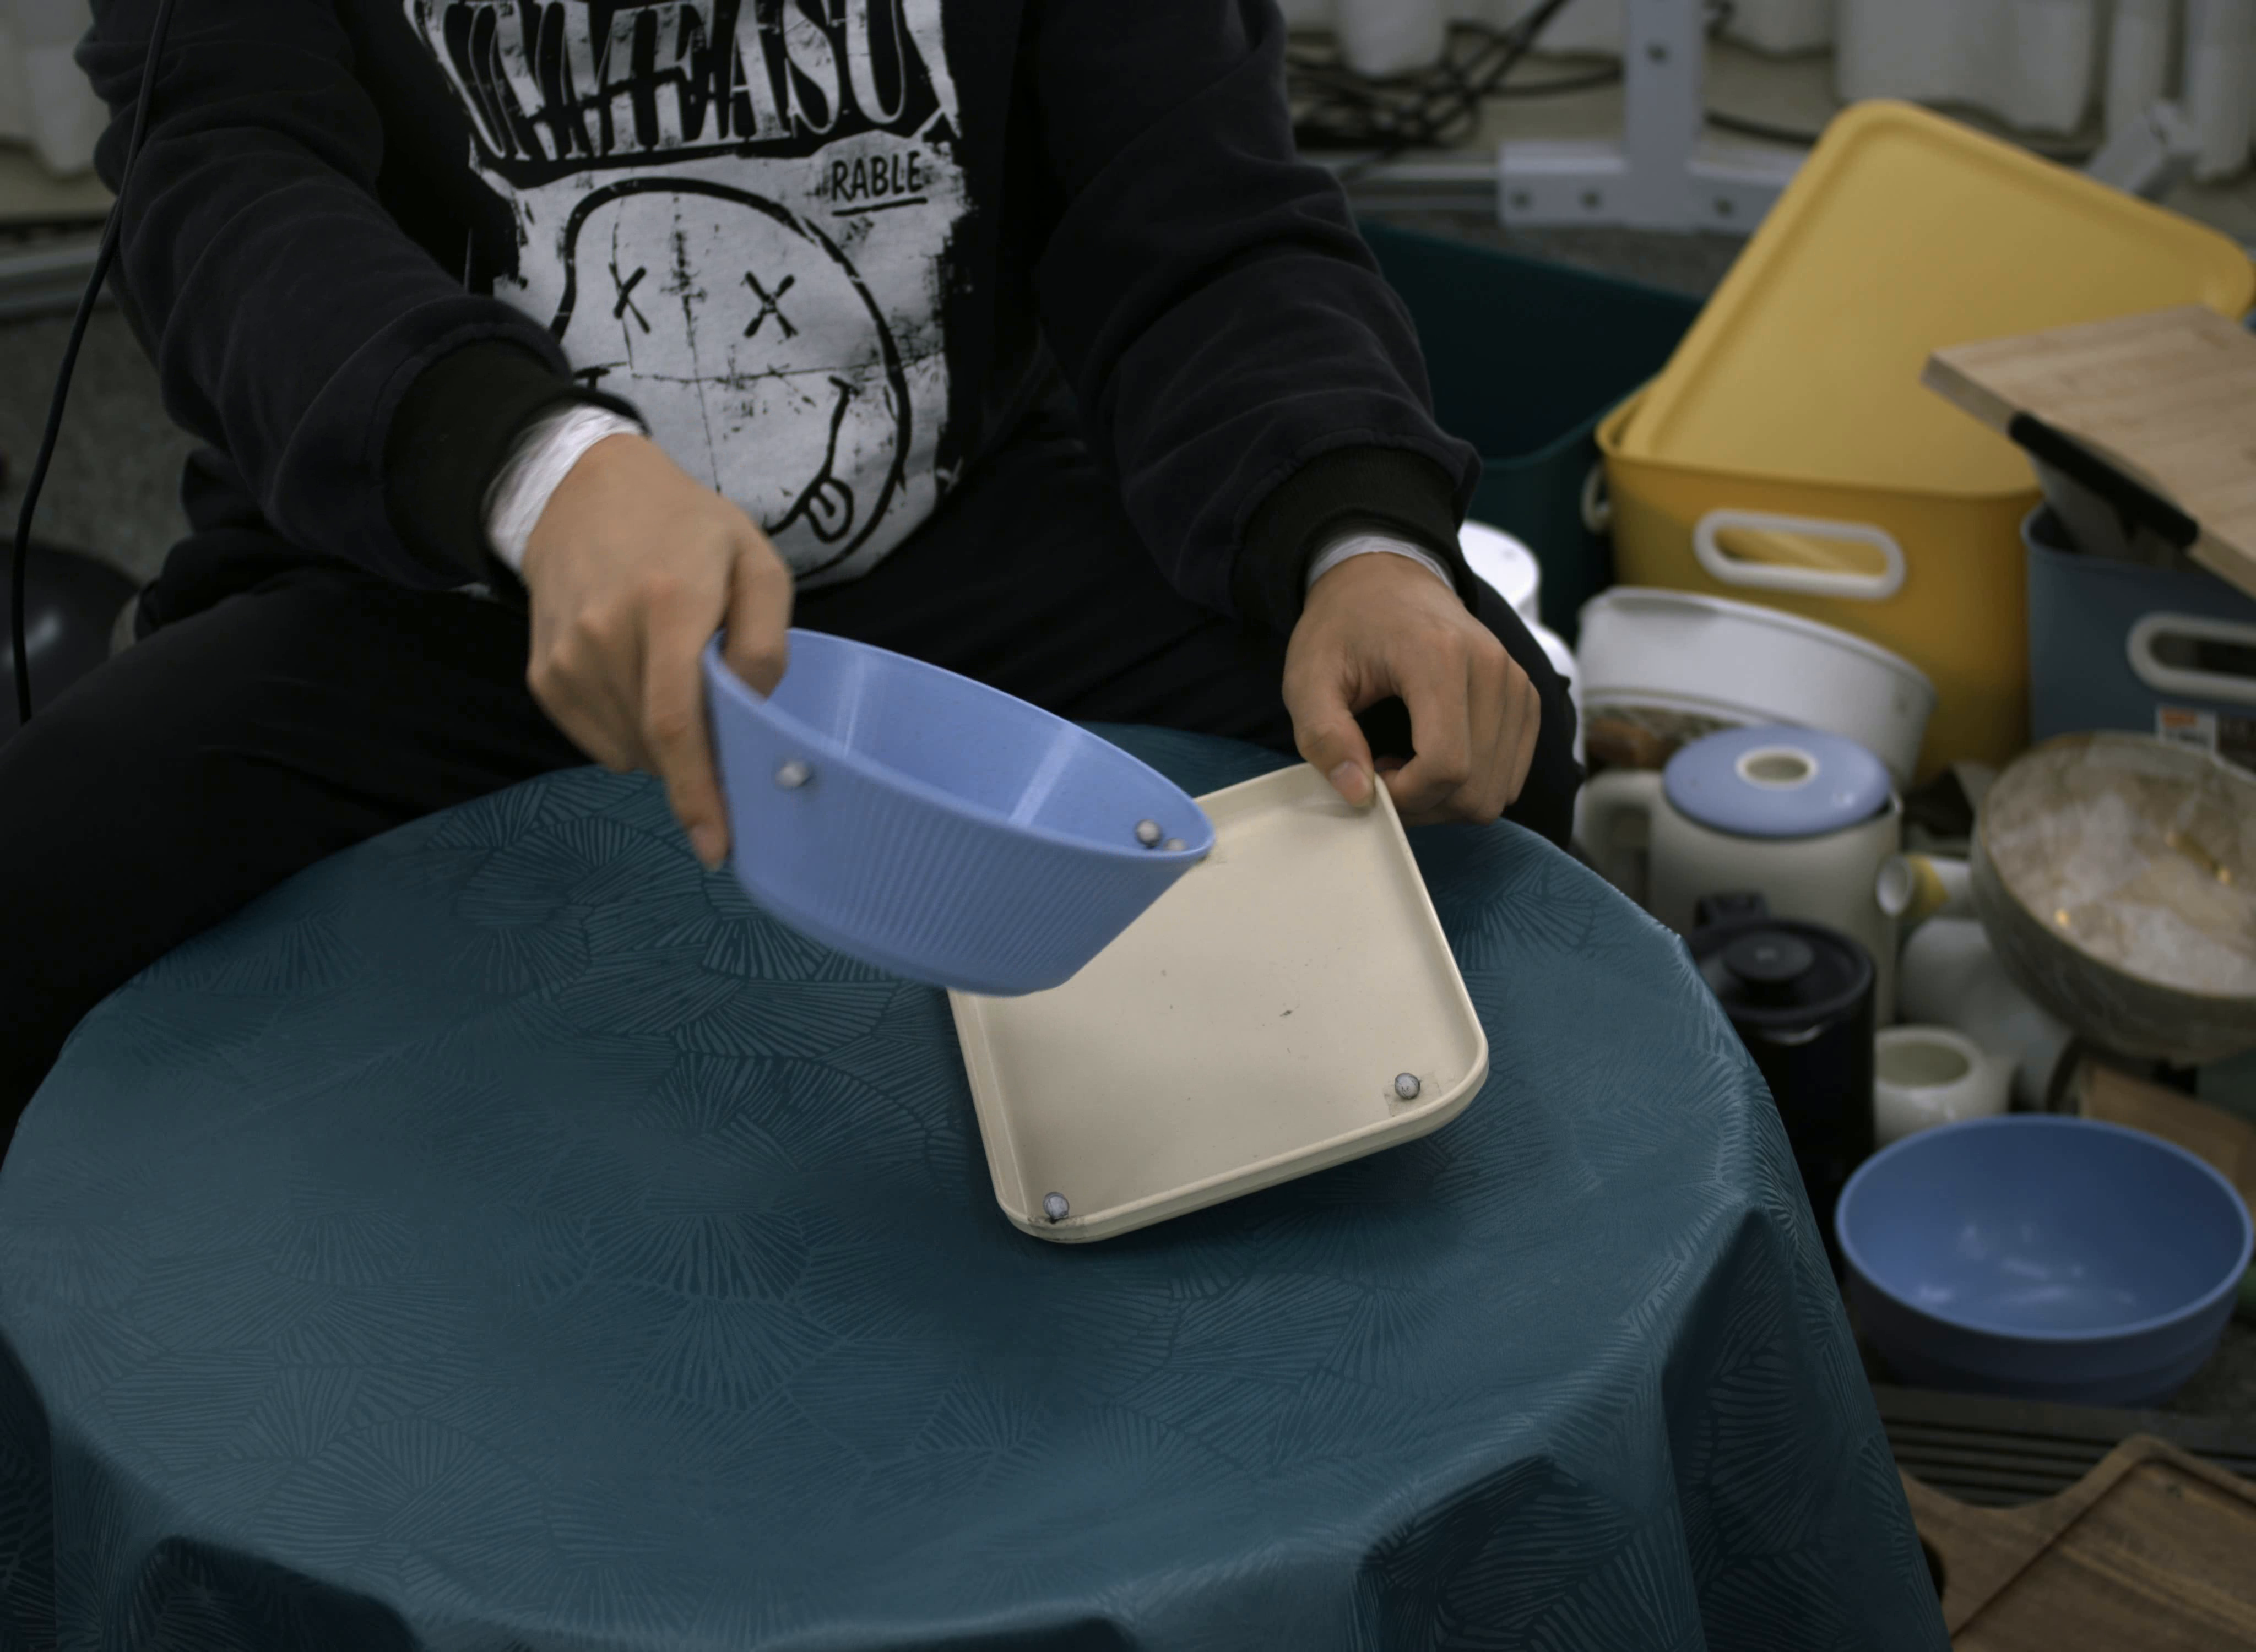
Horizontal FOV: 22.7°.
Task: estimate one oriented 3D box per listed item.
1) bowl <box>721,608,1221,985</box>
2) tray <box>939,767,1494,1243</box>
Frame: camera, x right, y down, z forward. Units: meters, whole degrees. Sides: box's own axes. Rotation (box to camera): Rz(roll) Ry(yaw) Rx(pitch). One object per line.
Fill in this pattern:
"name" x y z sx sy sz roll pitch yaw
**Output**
"bowl" -0.062 -0.003 1.811 0.175 0.070 0.177 23 11 -4
"tray" 0.027 0.060 1.922 0.171 0.017 0.243 -17 29 -1
